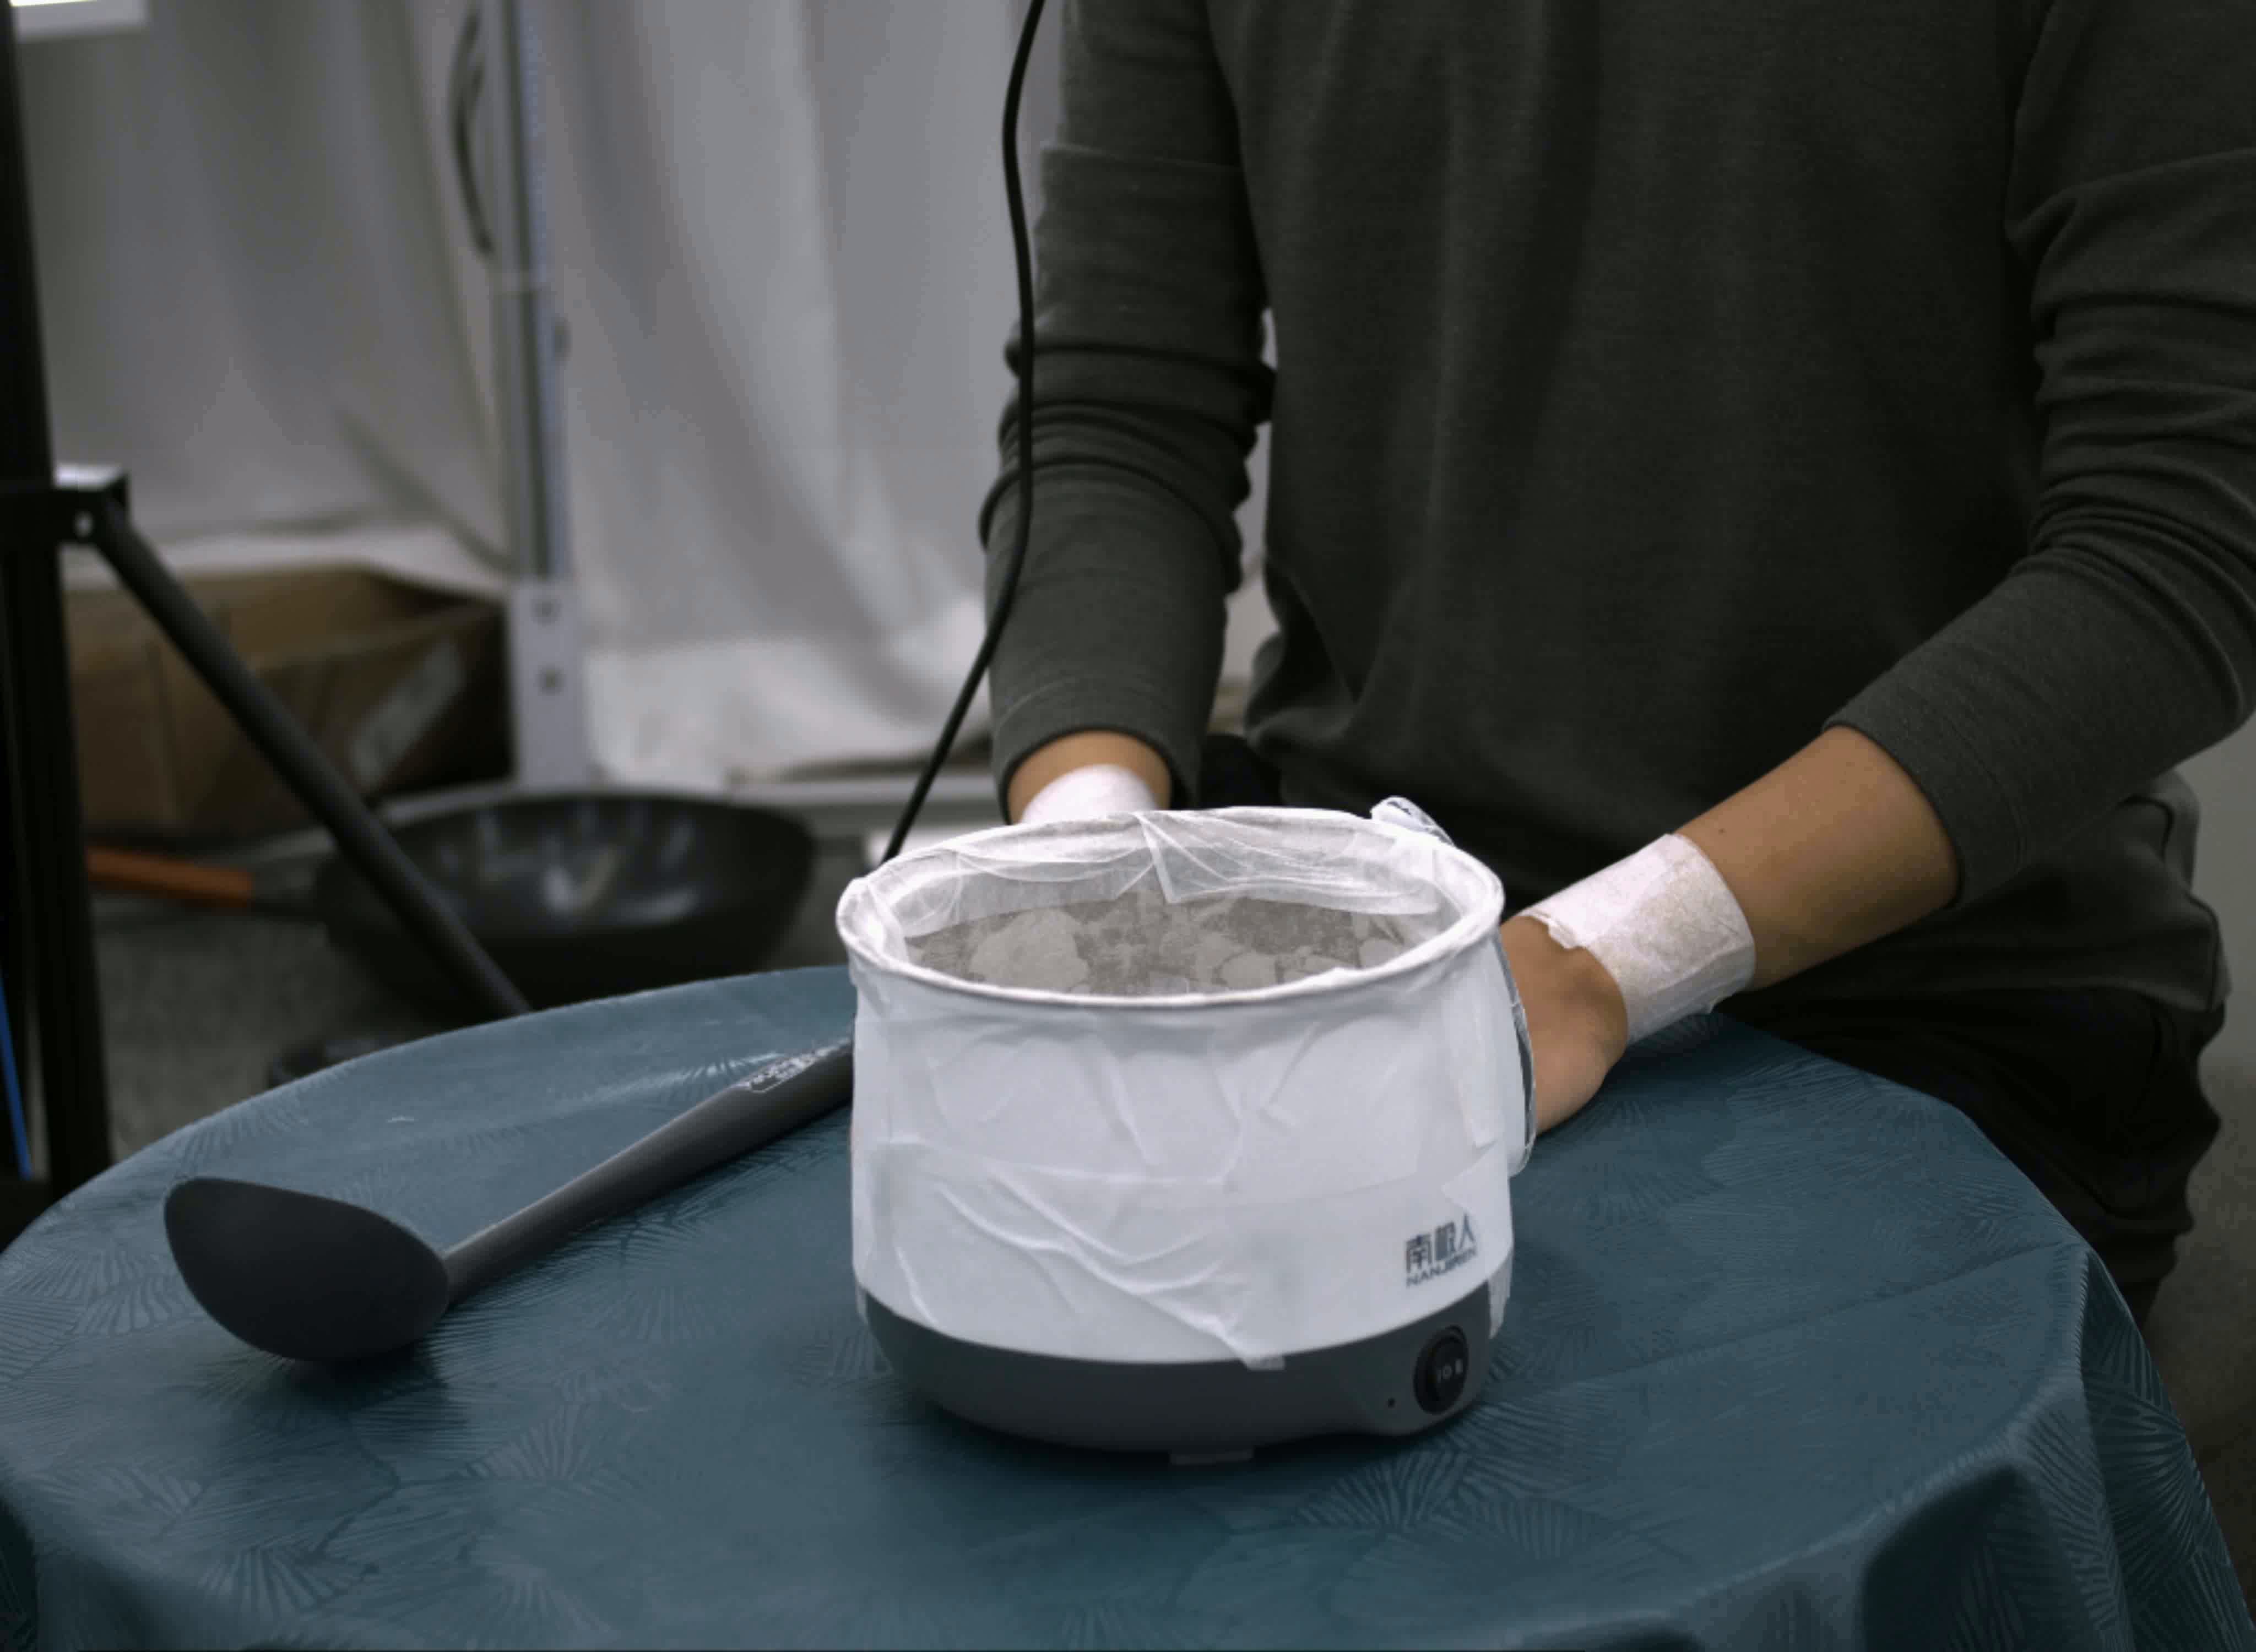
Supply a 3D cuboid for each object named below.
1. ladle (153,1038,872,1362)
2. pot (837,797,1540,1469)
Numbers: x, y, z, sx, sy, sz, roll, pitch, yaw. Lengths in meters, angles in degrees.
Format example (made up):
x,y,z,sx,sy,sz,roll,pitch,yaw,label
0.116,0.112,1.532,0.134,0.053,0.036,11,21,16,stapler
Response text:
x,y,z,sx,sy,sz,roll,pitch,yaw,label
-0.160,0.088,1.544,0.088,0.064,0.308,12,21,29,ladle
0.031,0.074,1.427,0.182,0.136,0.228,11,20,39,pot
